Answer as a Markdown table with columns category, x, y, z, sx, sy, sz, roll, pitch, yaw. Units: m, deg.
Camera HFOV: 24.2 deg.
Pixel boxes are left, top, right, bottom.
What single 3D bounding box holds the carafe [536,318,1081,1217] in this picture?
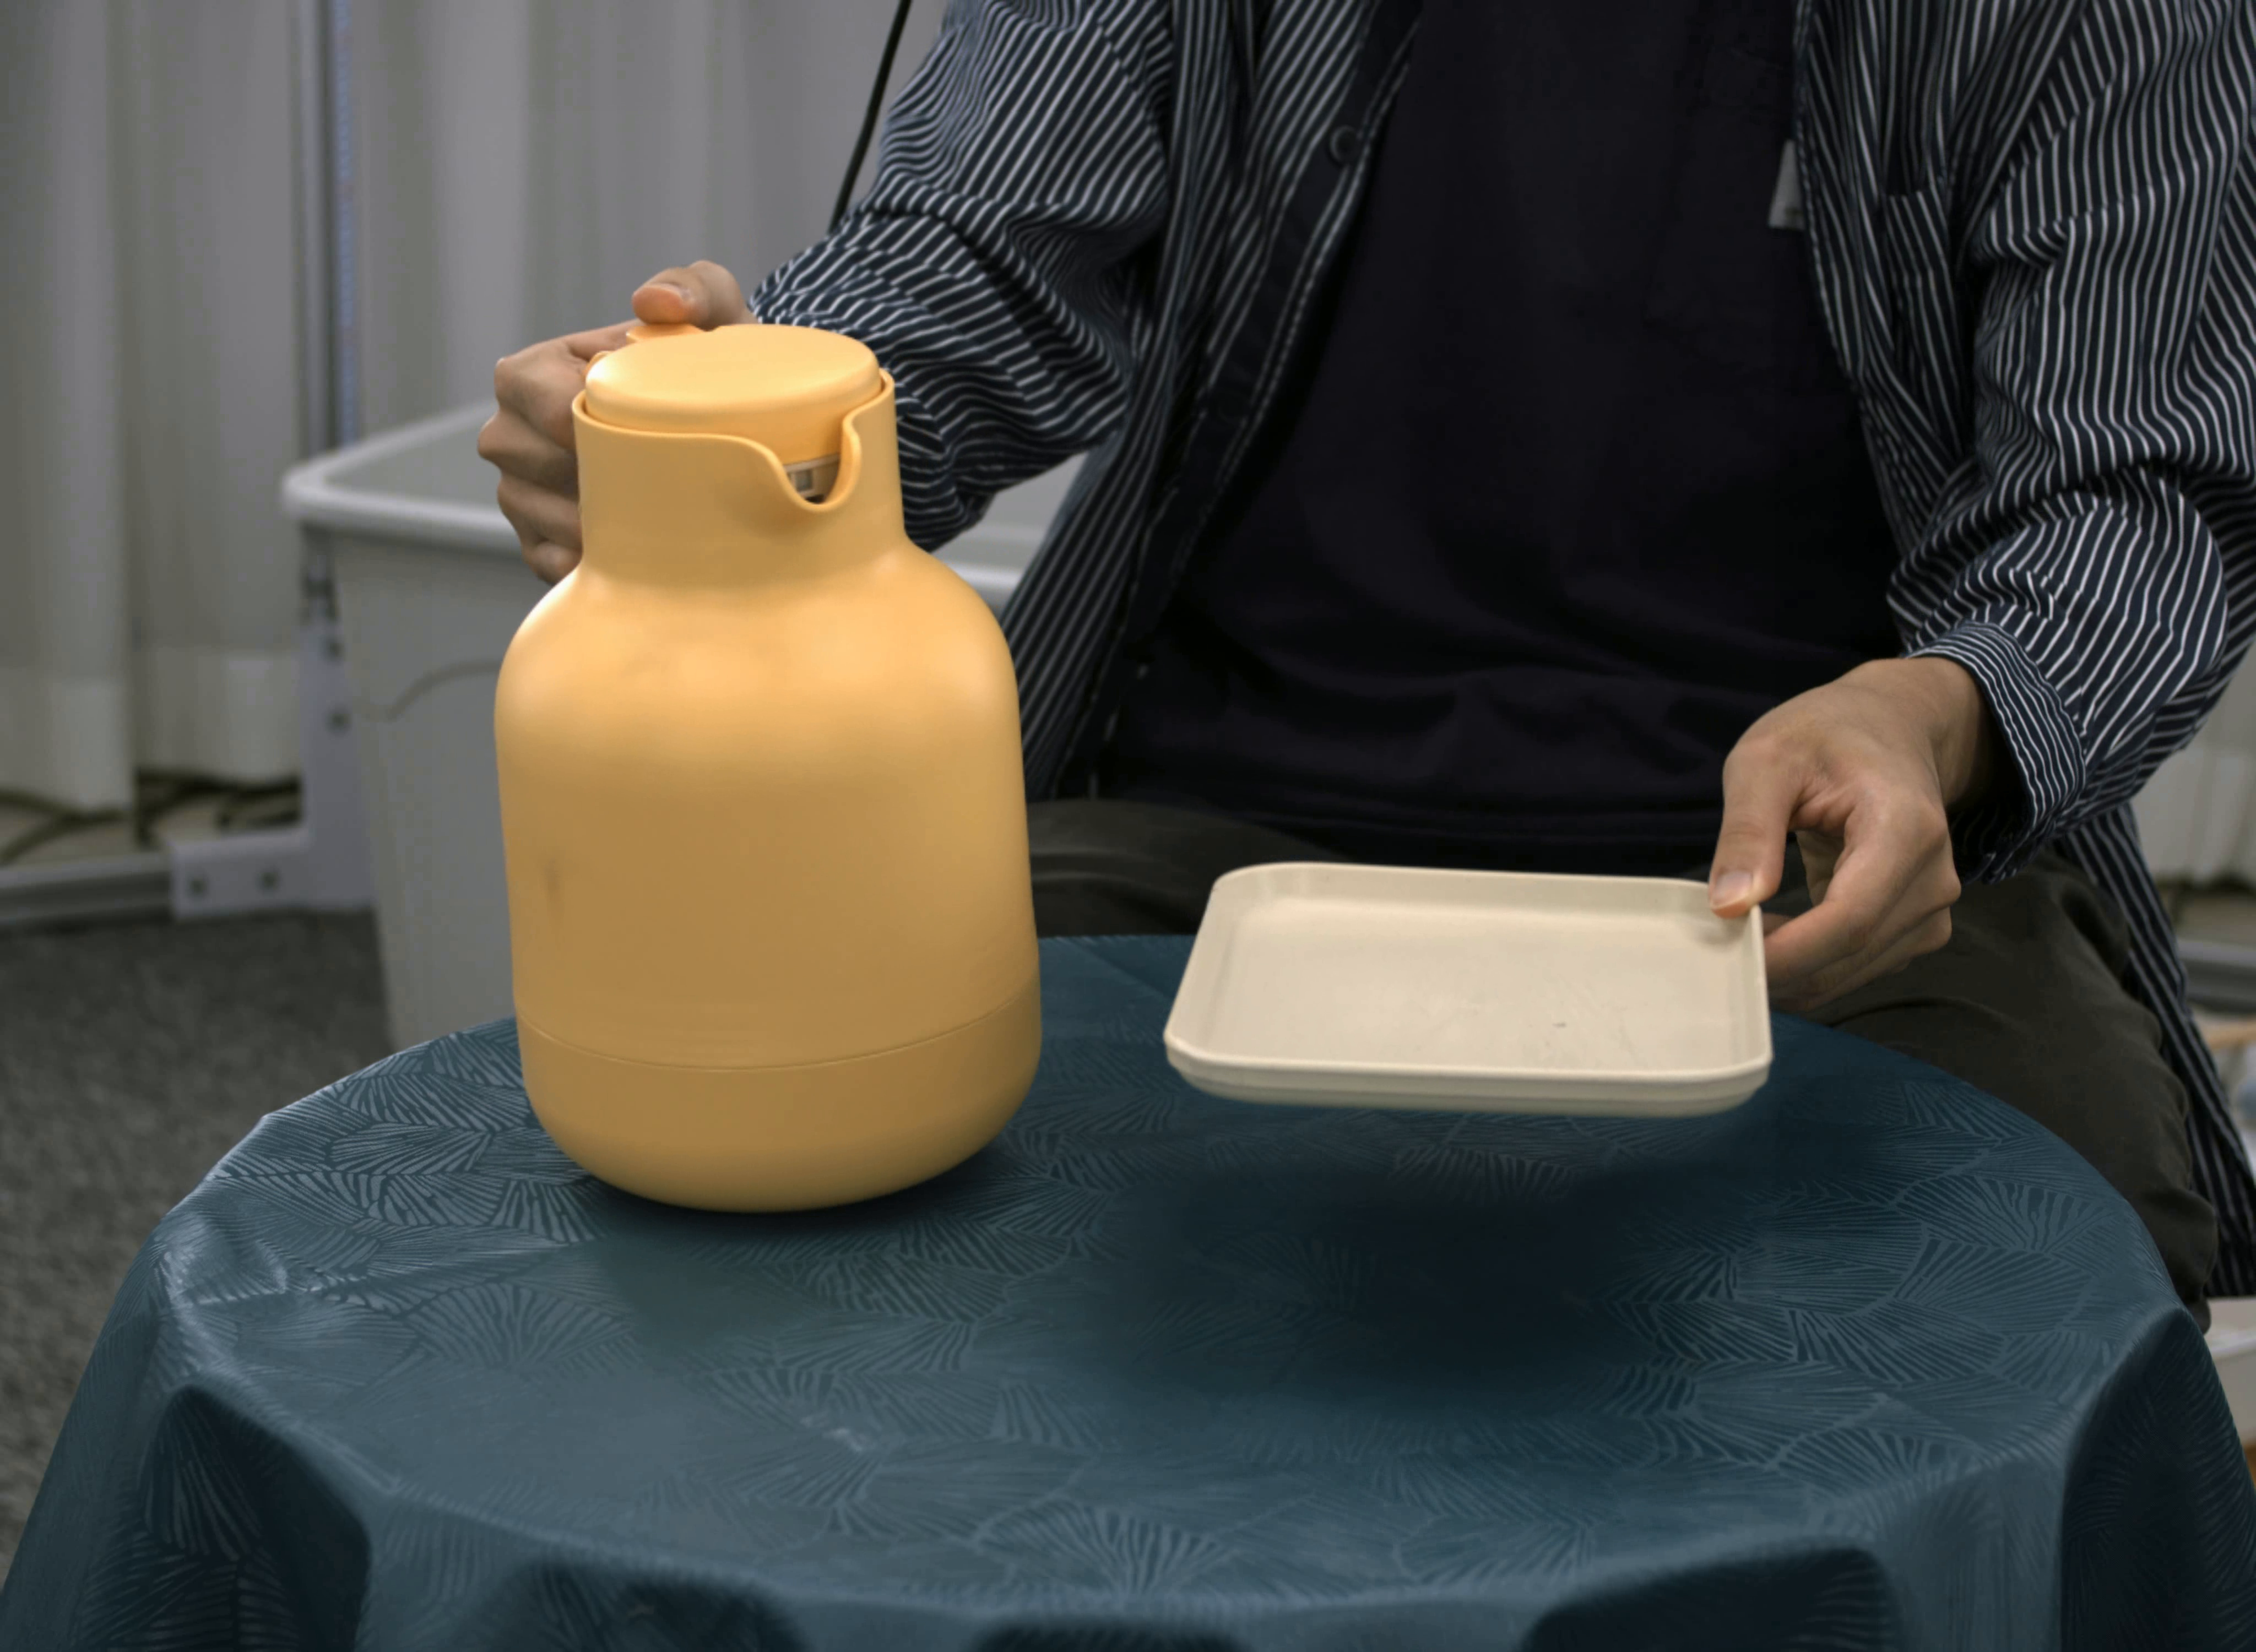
| category | x | y | z | sx | sy | sz | roll | pitch | yaw |
| --- | --- | --- | --- | --- | --- | --- | --- | --- | --- |
| carafe | -0.107 | -0.027 | 1.622 | 0.164 | 0.263 | 0.200 | -11 | 22 | -25 |

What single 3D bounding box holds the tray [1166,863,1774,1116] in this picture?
| category | x | y | z | sx | sy | sz | roll | pitch | yaw |
| --- | --- | --- | --- | --- | --- | --- | --- | --- | --- |
| tray | 0.102 | 0.047 | 1.549 | 0.170 | 0.017 | 0.239 | 3 | 12 | 5 |
